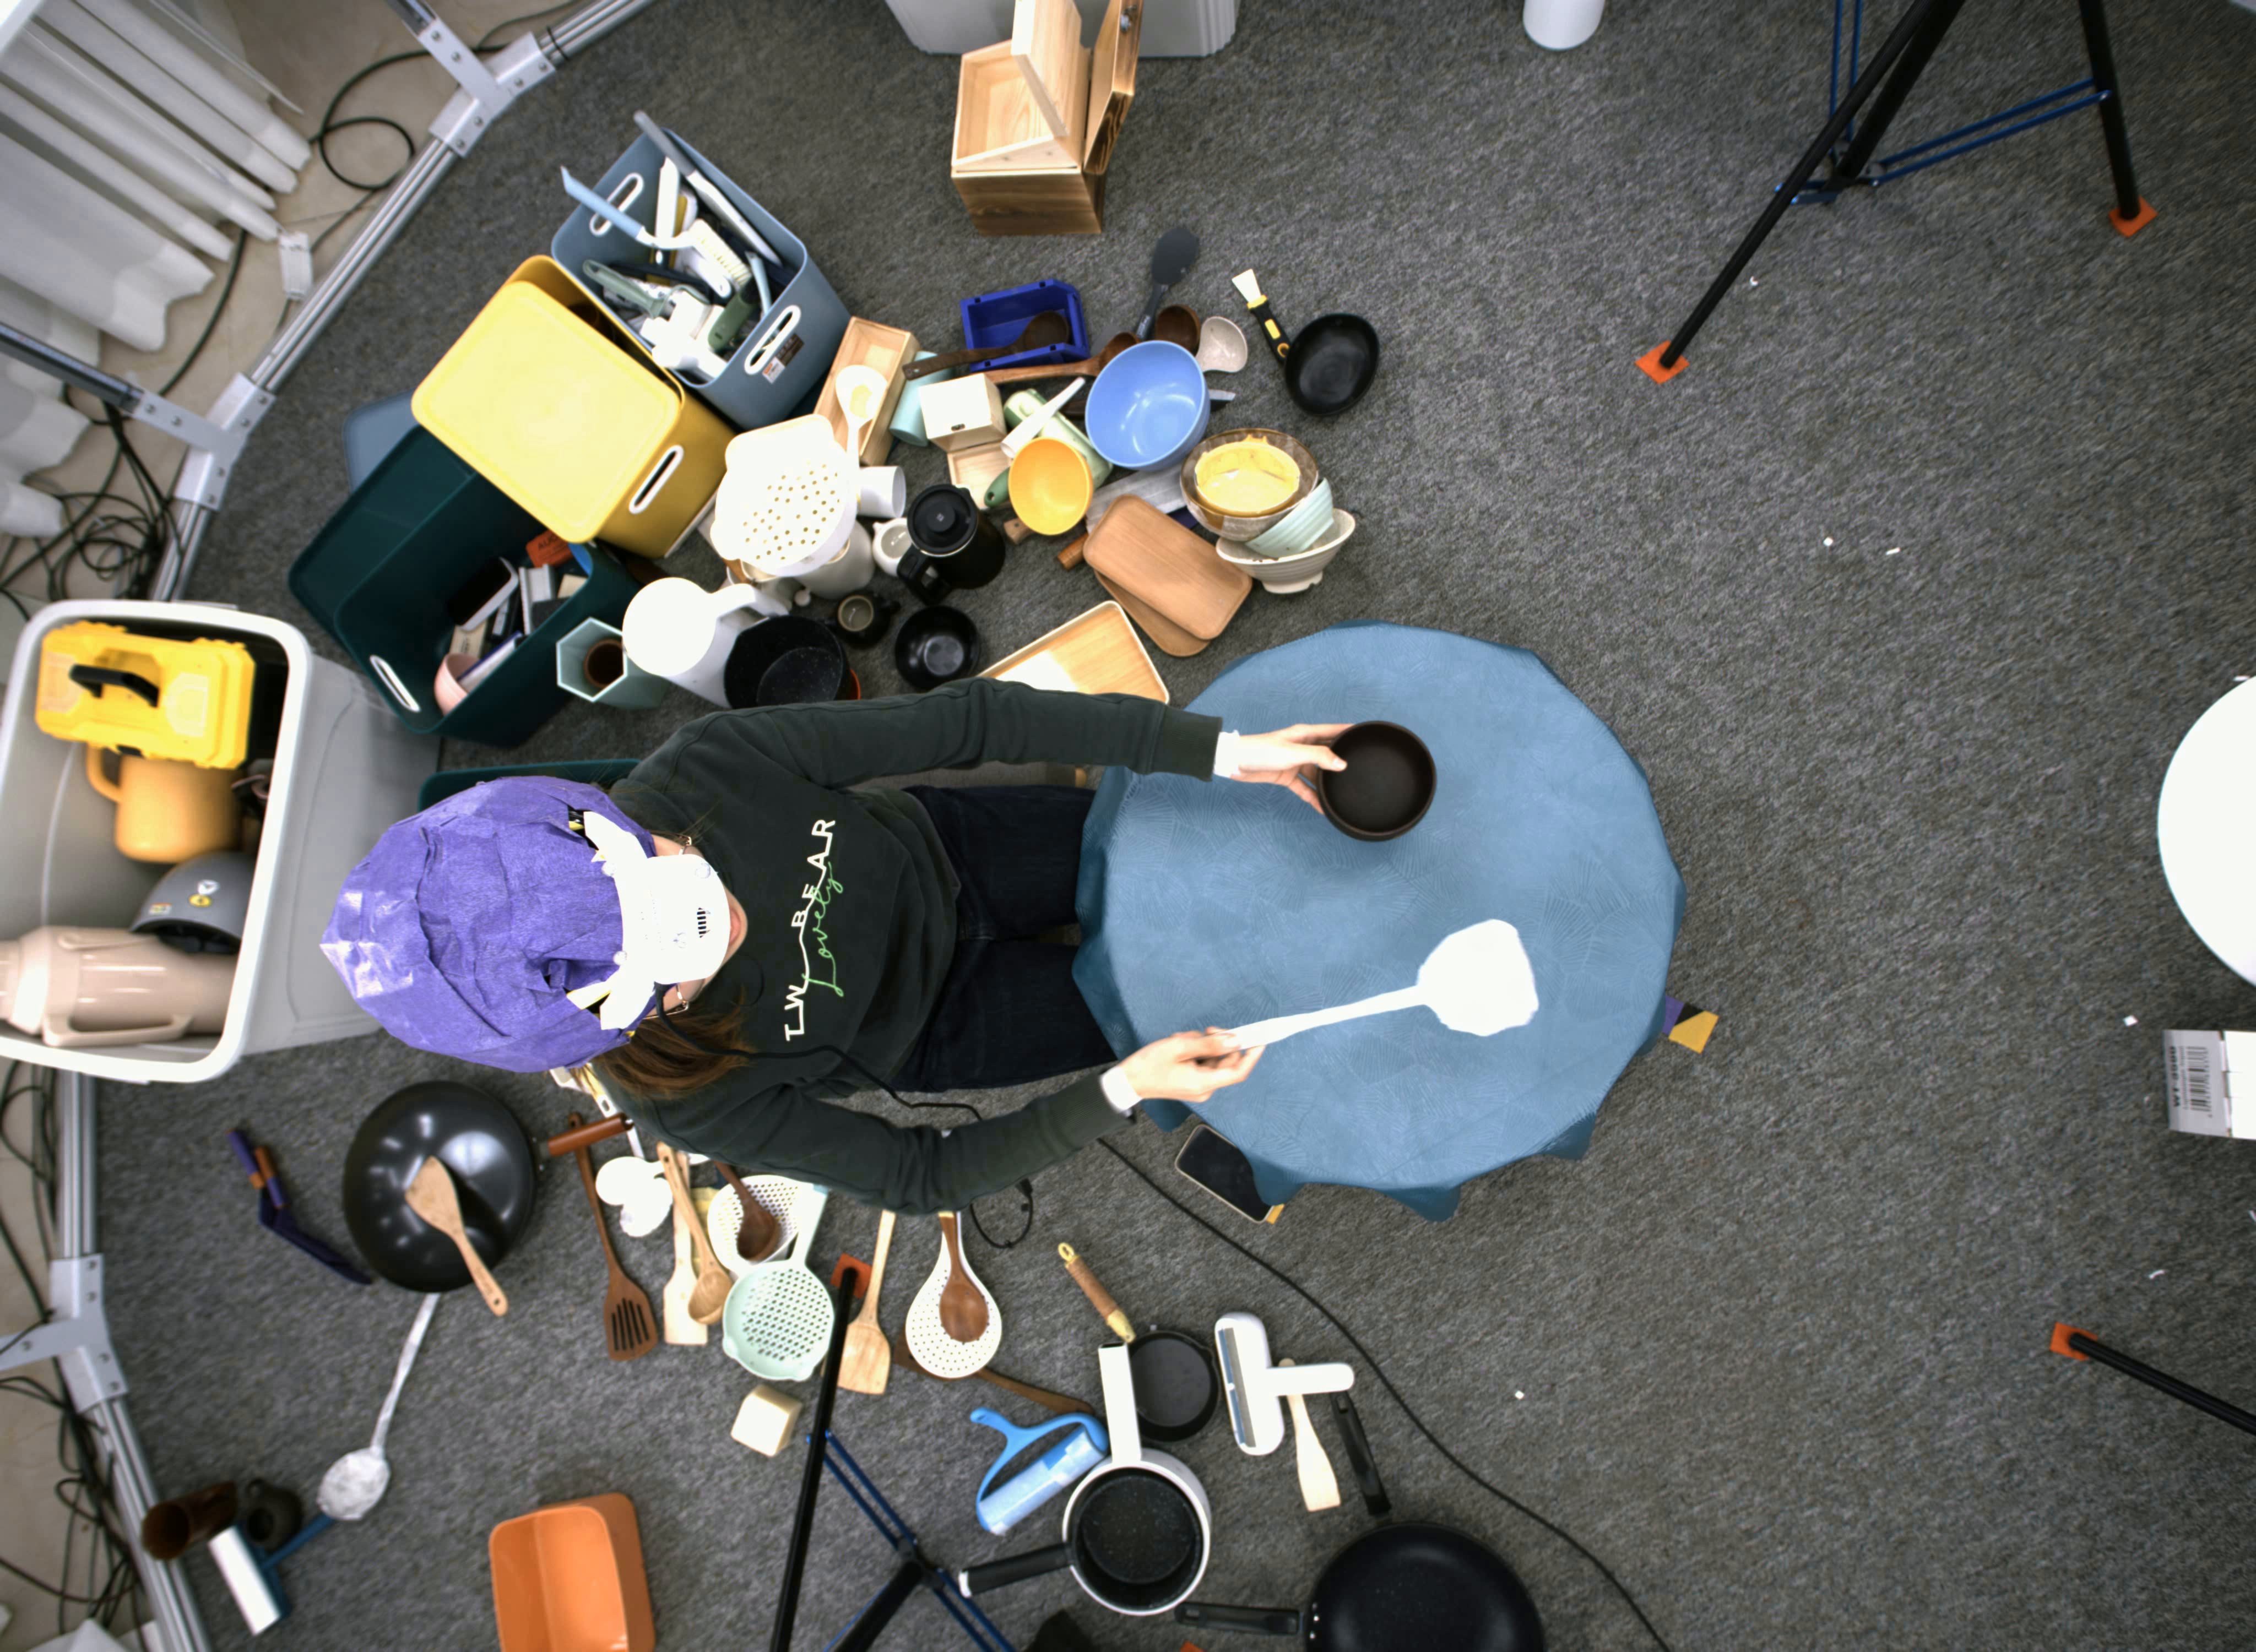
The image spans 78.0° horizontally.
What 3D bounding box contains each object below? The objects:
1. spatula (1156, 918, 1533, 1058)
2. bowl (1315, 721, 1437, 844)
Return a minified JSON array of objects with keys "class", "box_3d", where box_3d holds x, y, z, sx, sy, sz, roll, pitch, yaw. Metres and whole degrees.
[{"class":"spatula","box_3d":[0.194,0.172,1.295,0.368,0.045,0.098,-16,79,15]},{"class":"bowl","box_3d":[0.243,-0.040,1.359,0.118,0.070,0.117,-1,80,6]}]
